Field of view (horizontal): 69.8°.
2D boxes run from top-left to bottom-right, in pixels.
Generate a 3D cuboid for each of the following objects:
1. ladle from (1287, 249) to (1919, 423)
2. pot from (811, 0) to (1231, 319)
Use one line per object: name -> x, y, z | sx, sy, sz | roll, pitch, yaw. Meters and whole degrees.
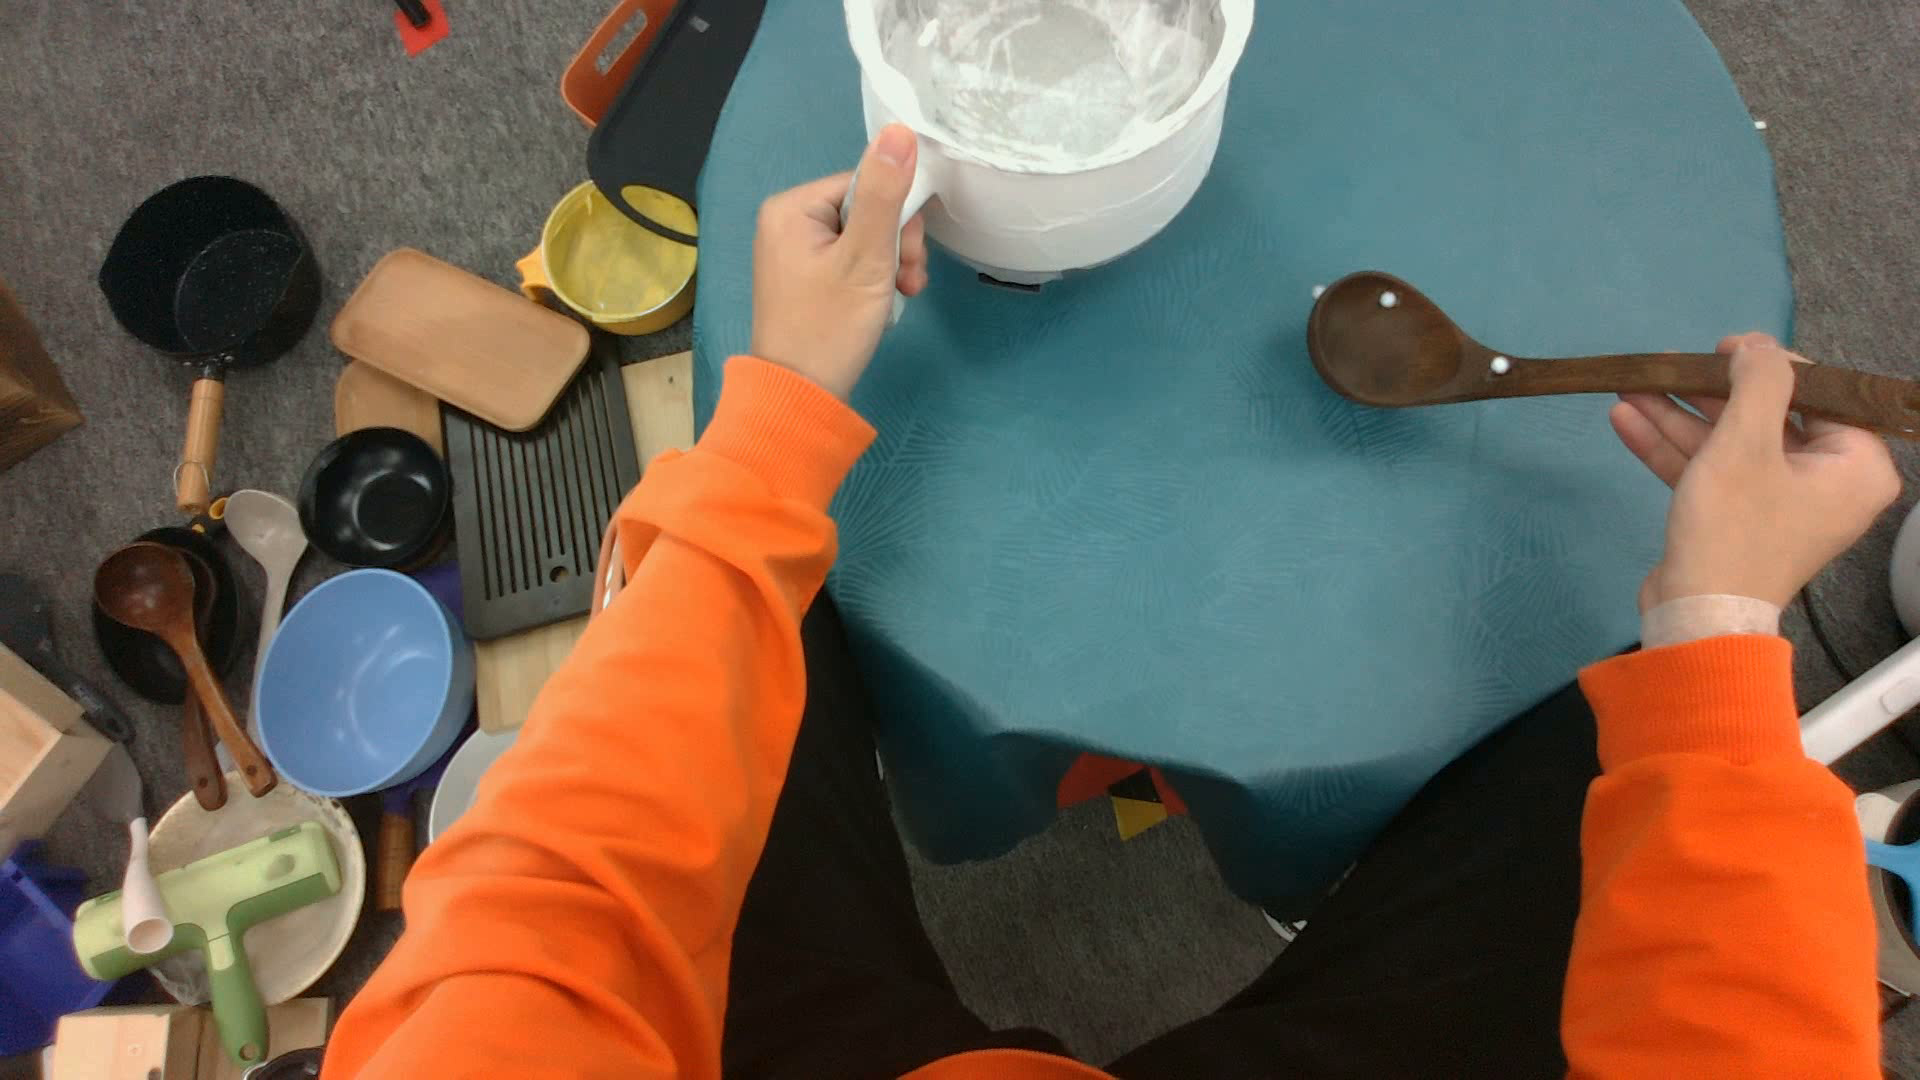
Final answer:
ladle -> 0.280, -0.094, 0.625 | 0.273, 0.071, 0.076 | 12, 66, 43
pot -> 0.014, -0.210, 0.653 | 0.179, 0.136, 0.234 | 38, 80, 10
